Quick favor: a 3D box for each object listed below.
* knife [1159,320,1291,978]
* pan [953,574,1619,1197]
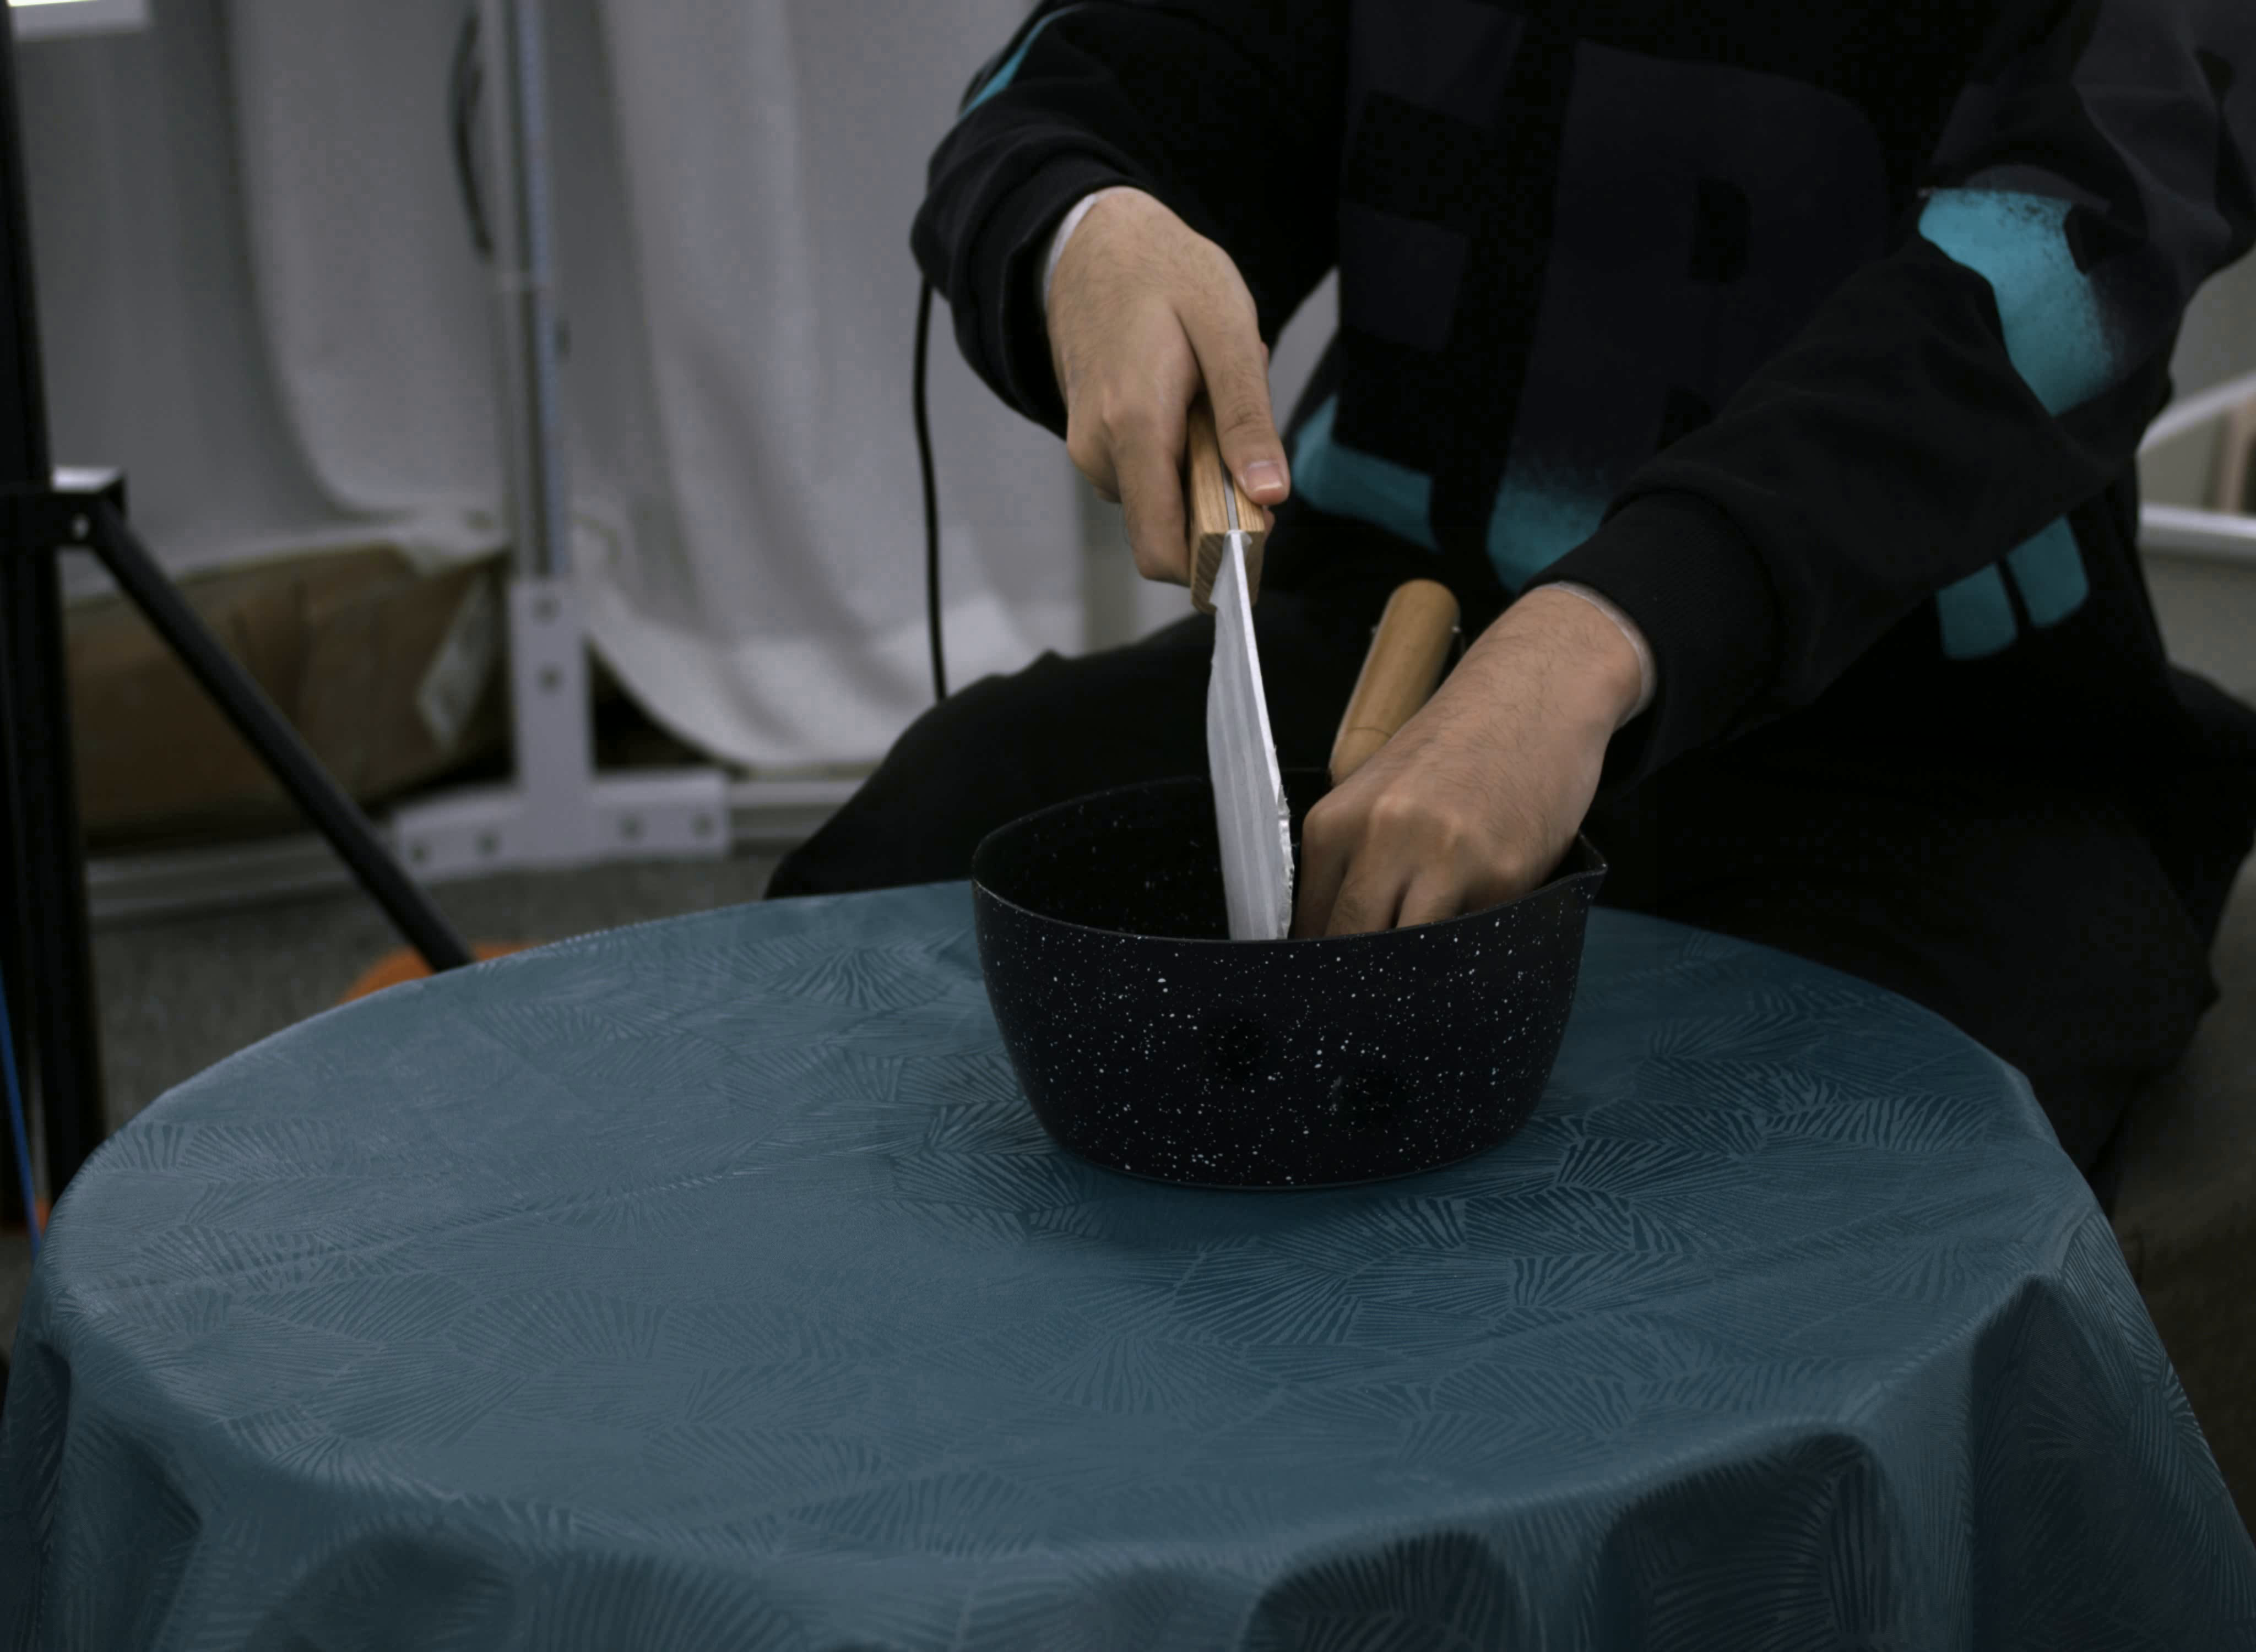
[{"bbox_3d":[0.032,-0.050,1.642,0.021,0.113,0.319,2,42,-7],"label":"knife"},{"bbox_3d":[0.062,0.014,1.678,0.209,0.108,0.341,0,17,13],"label":"pan"}]
